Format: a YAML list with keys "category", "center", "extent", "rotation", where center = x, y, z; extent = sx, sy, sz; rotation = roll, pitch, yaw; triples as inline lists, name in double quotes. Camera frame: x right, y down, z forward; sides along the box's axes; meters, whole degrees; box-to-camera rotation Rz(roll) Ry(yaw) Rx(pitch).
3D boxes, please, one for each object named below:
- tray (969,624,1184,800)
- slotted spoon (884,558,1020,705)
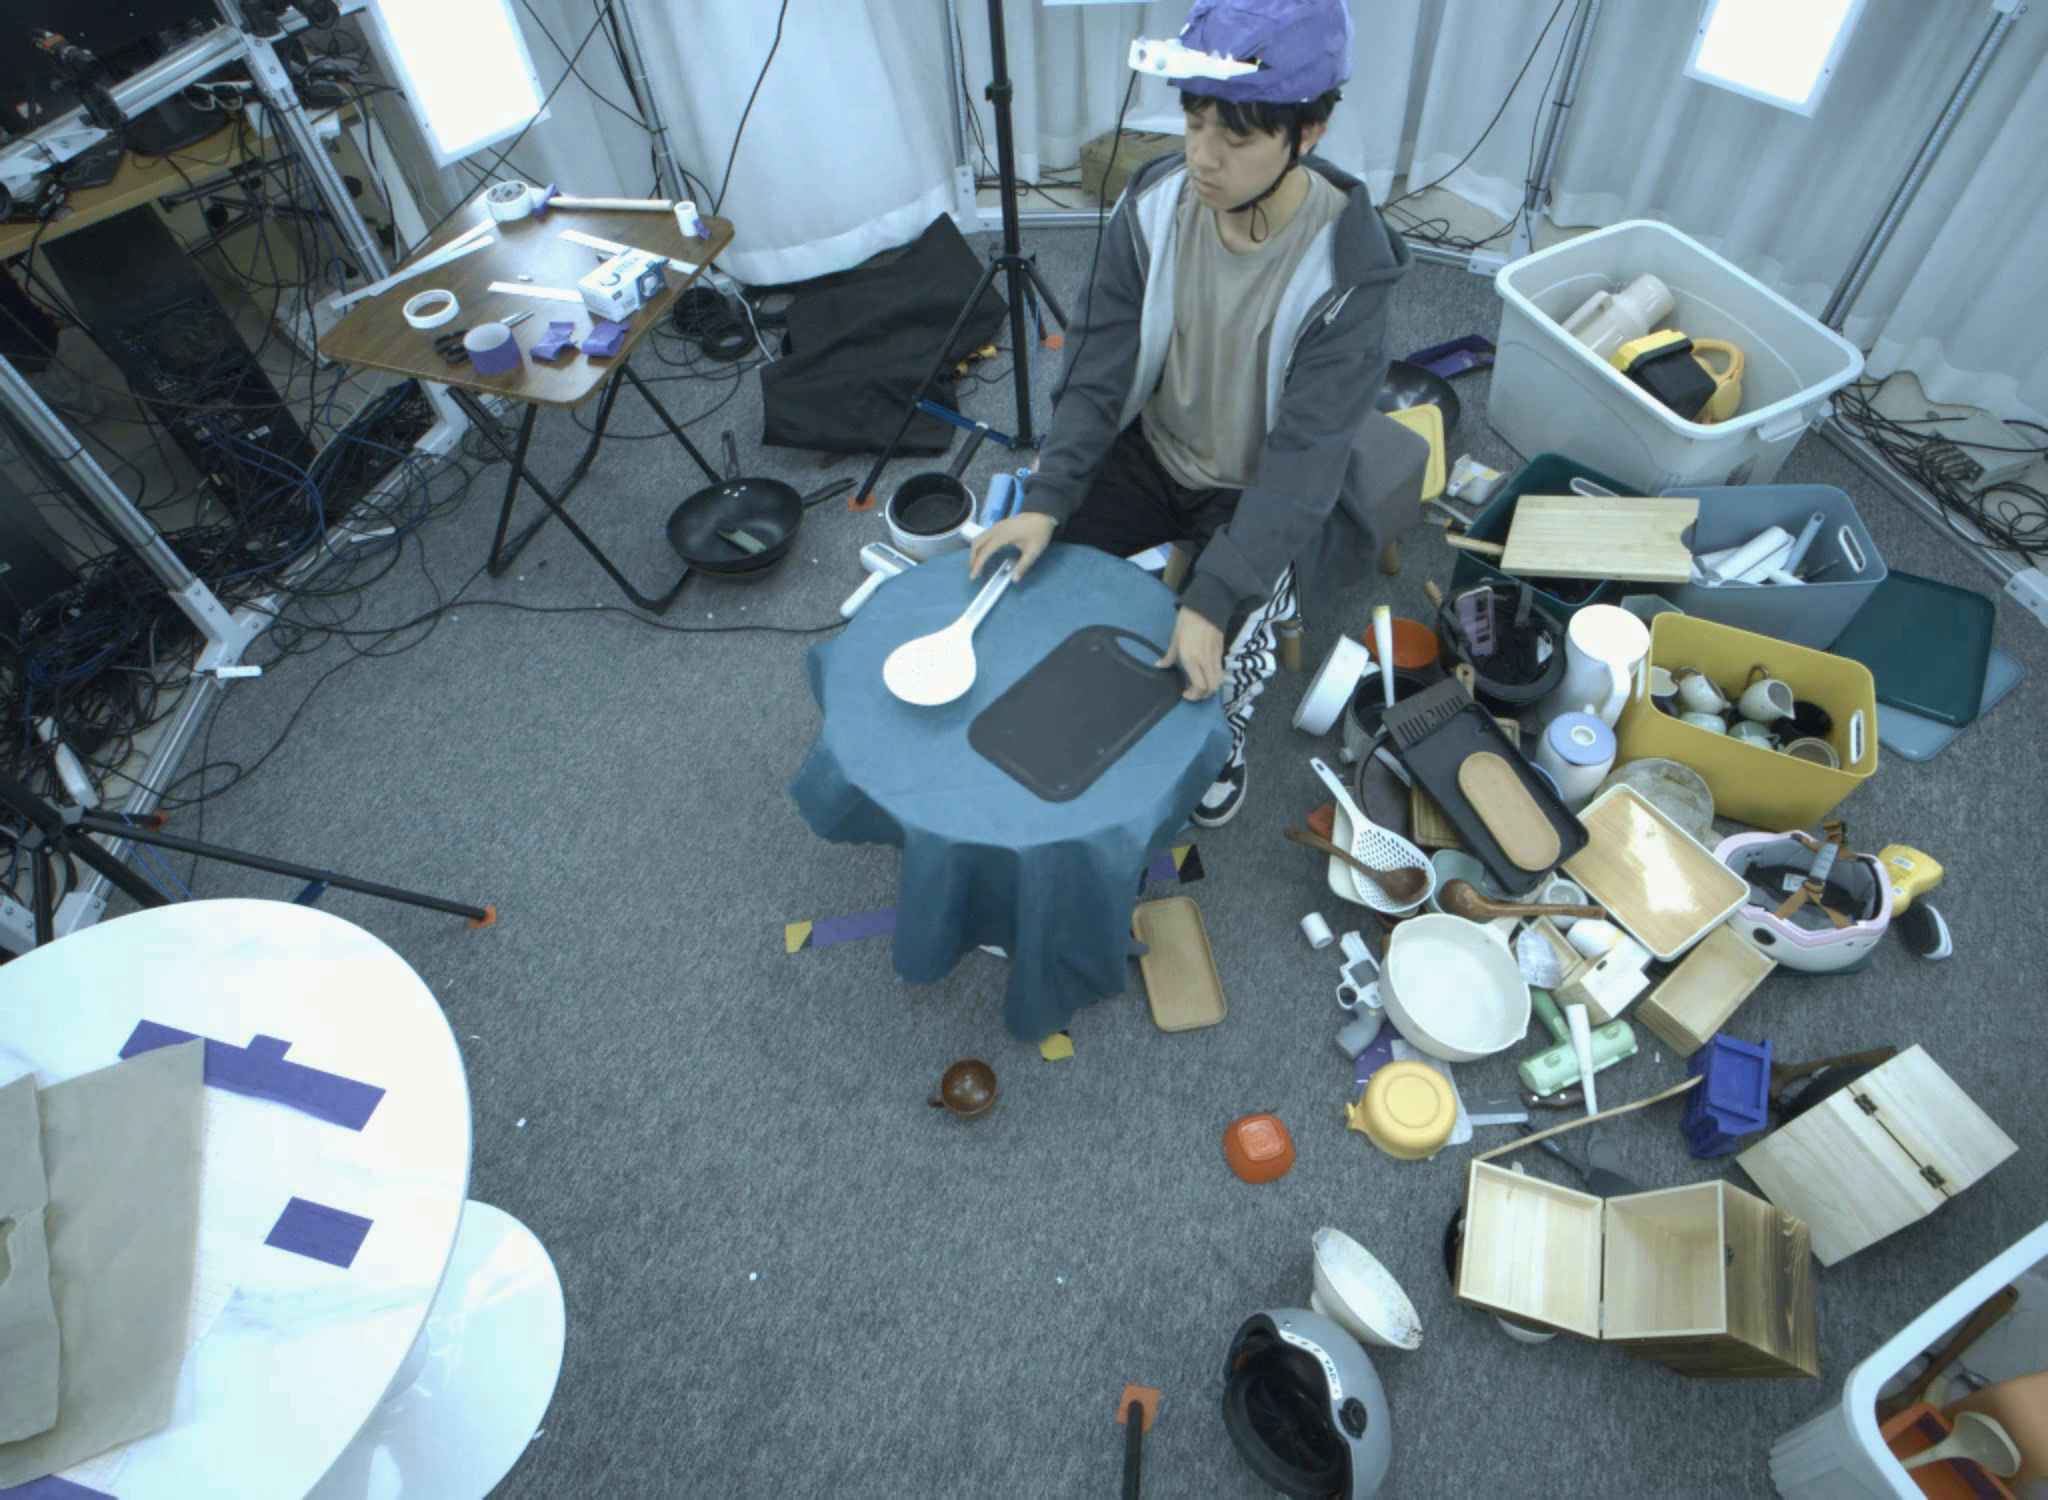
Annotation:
- category: "tray"
  center: [0.084, -0.069, 1.833]
  extent: [0.207, 0.010, 0.327]
  rotation: [36, 63, 24]
- category: "slotted spoon"
  center: [-0.094, -0.188, 1.899]
  extent: [0.134, 0.046, 0.350]
  rotation: [22, 57, 14]
